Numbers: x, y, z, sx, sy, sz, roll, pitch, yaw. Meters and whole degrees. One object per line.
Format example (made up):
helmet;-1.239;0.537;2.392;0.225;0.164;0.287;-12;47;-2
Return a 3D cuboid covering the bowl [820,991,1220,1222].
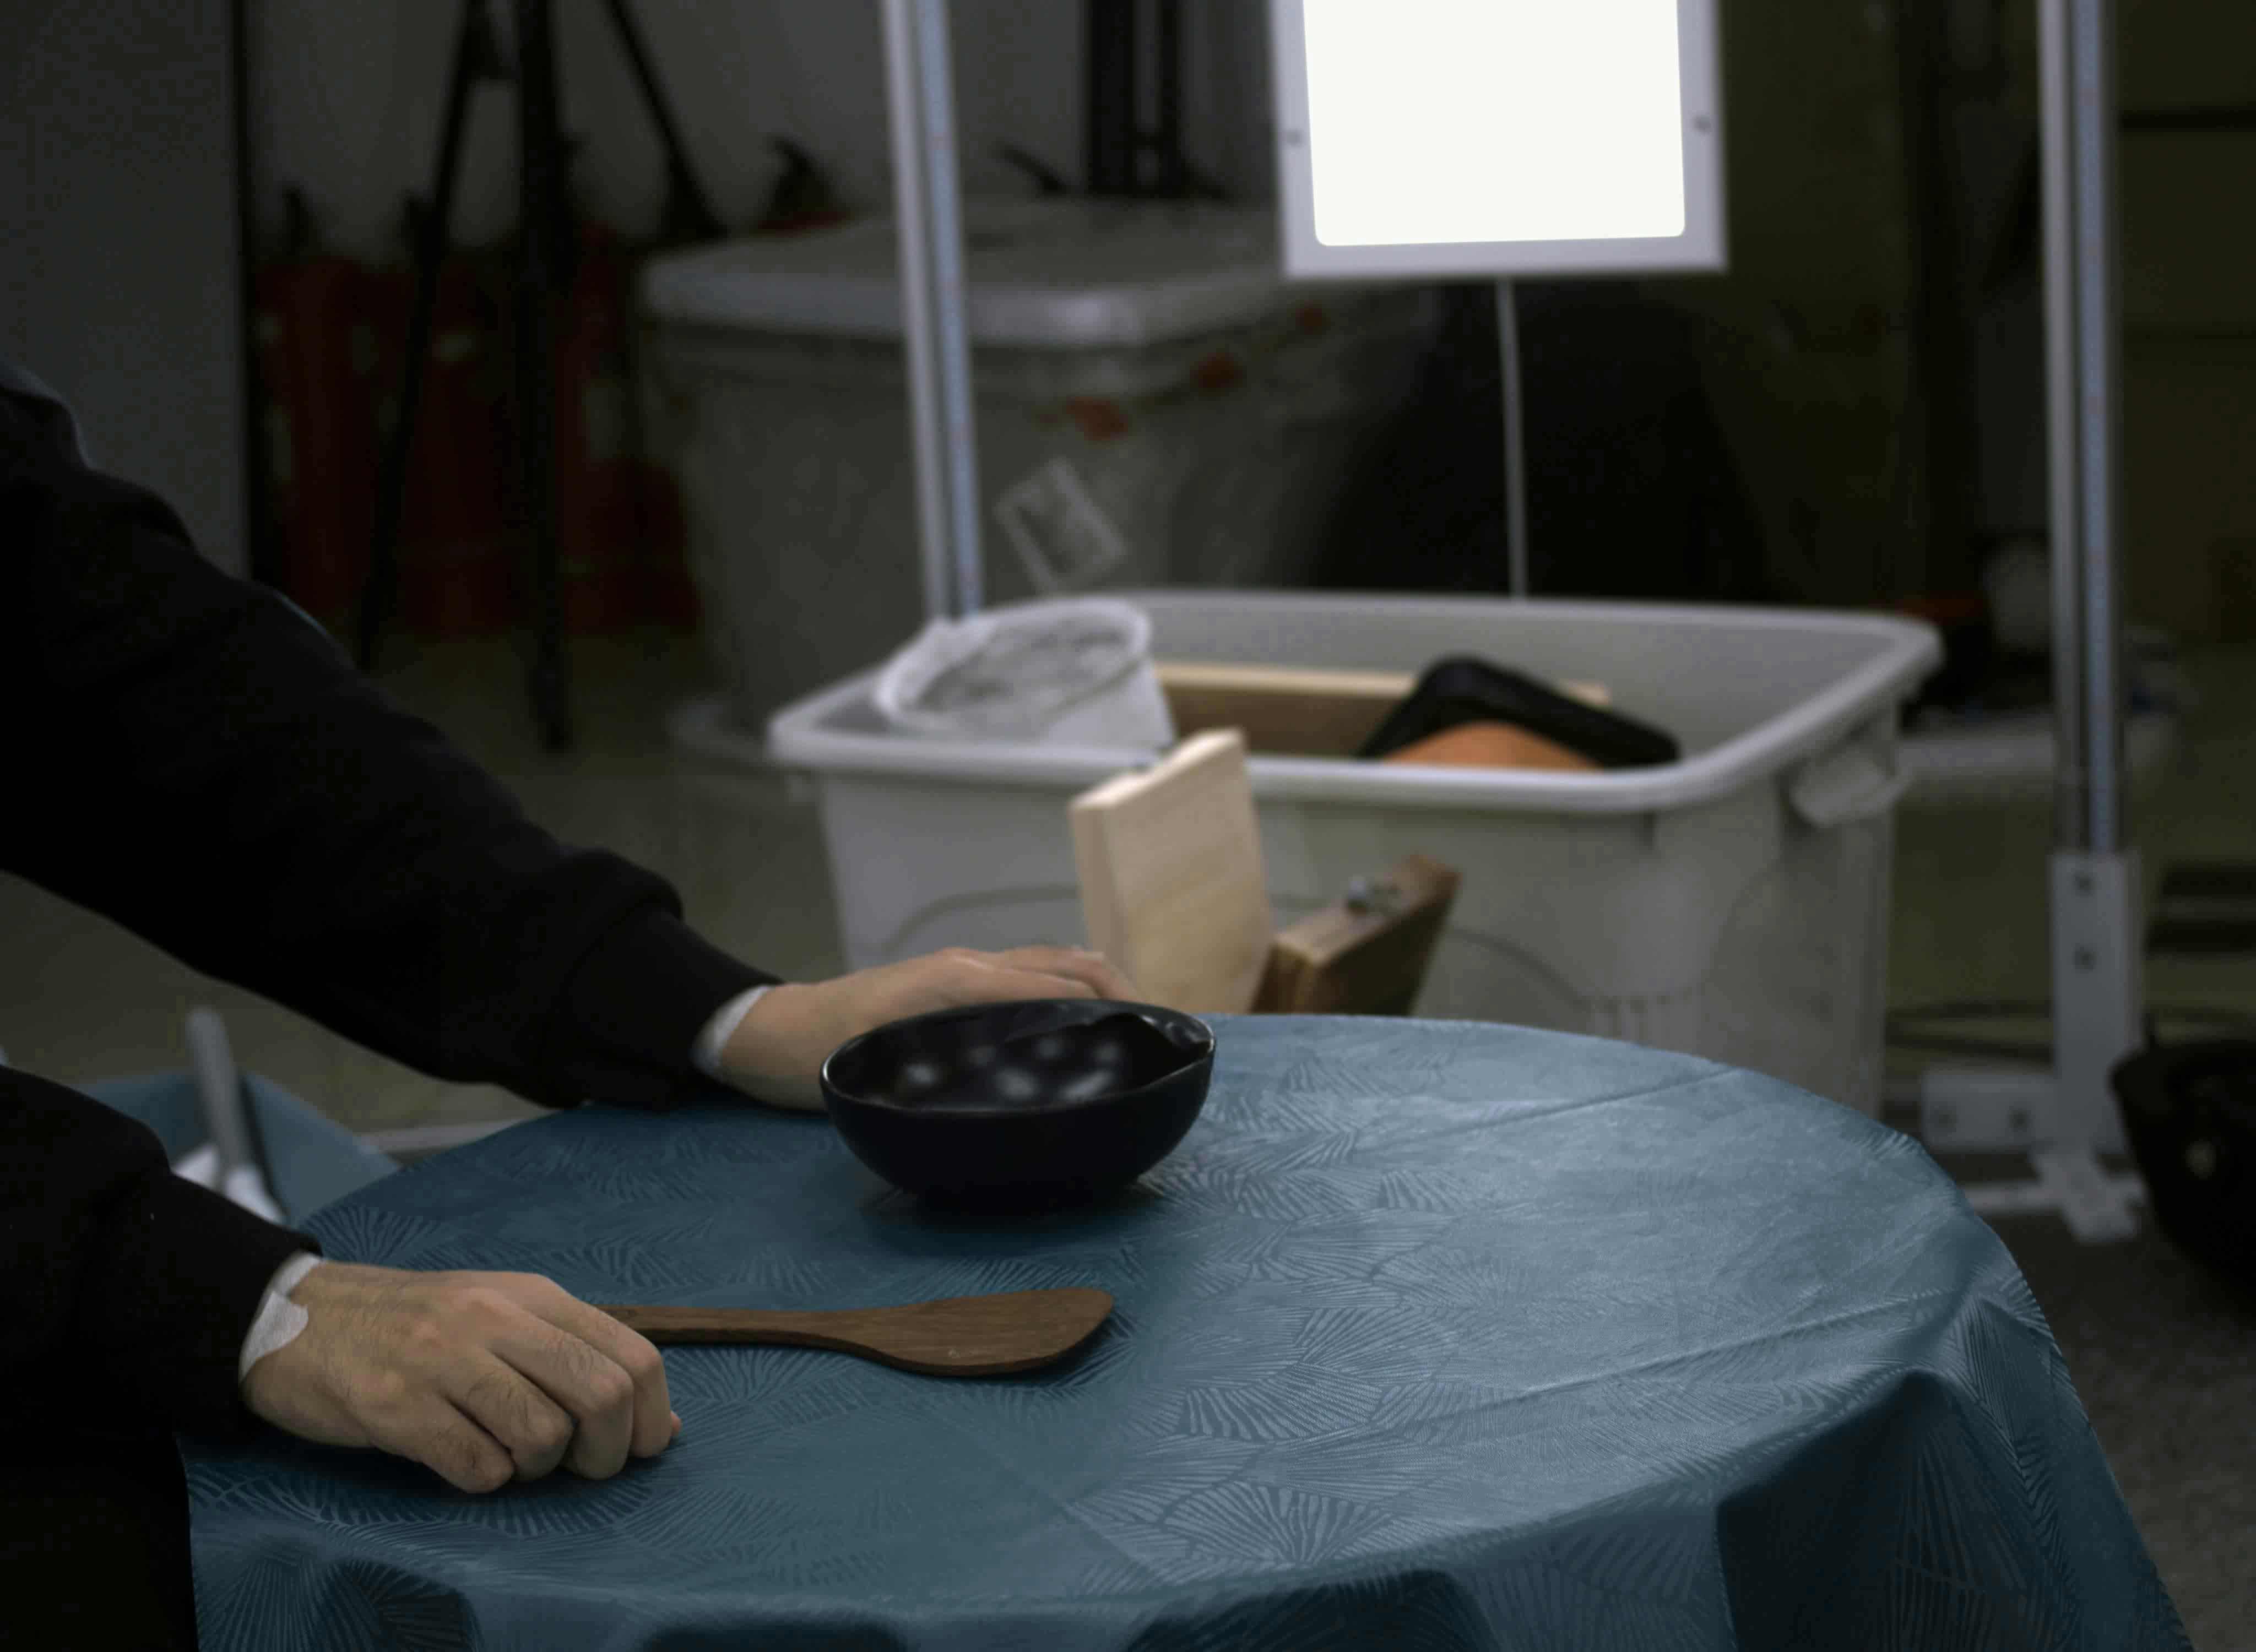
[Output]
bowl;-0.035;0.102;1.911;0.140;0.050;0.140;-7;16;1

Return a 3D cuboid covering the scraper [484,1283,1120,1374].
scraper;-0.107;0.161;1.777;0.214;0.011;0.074;-1;13;19
